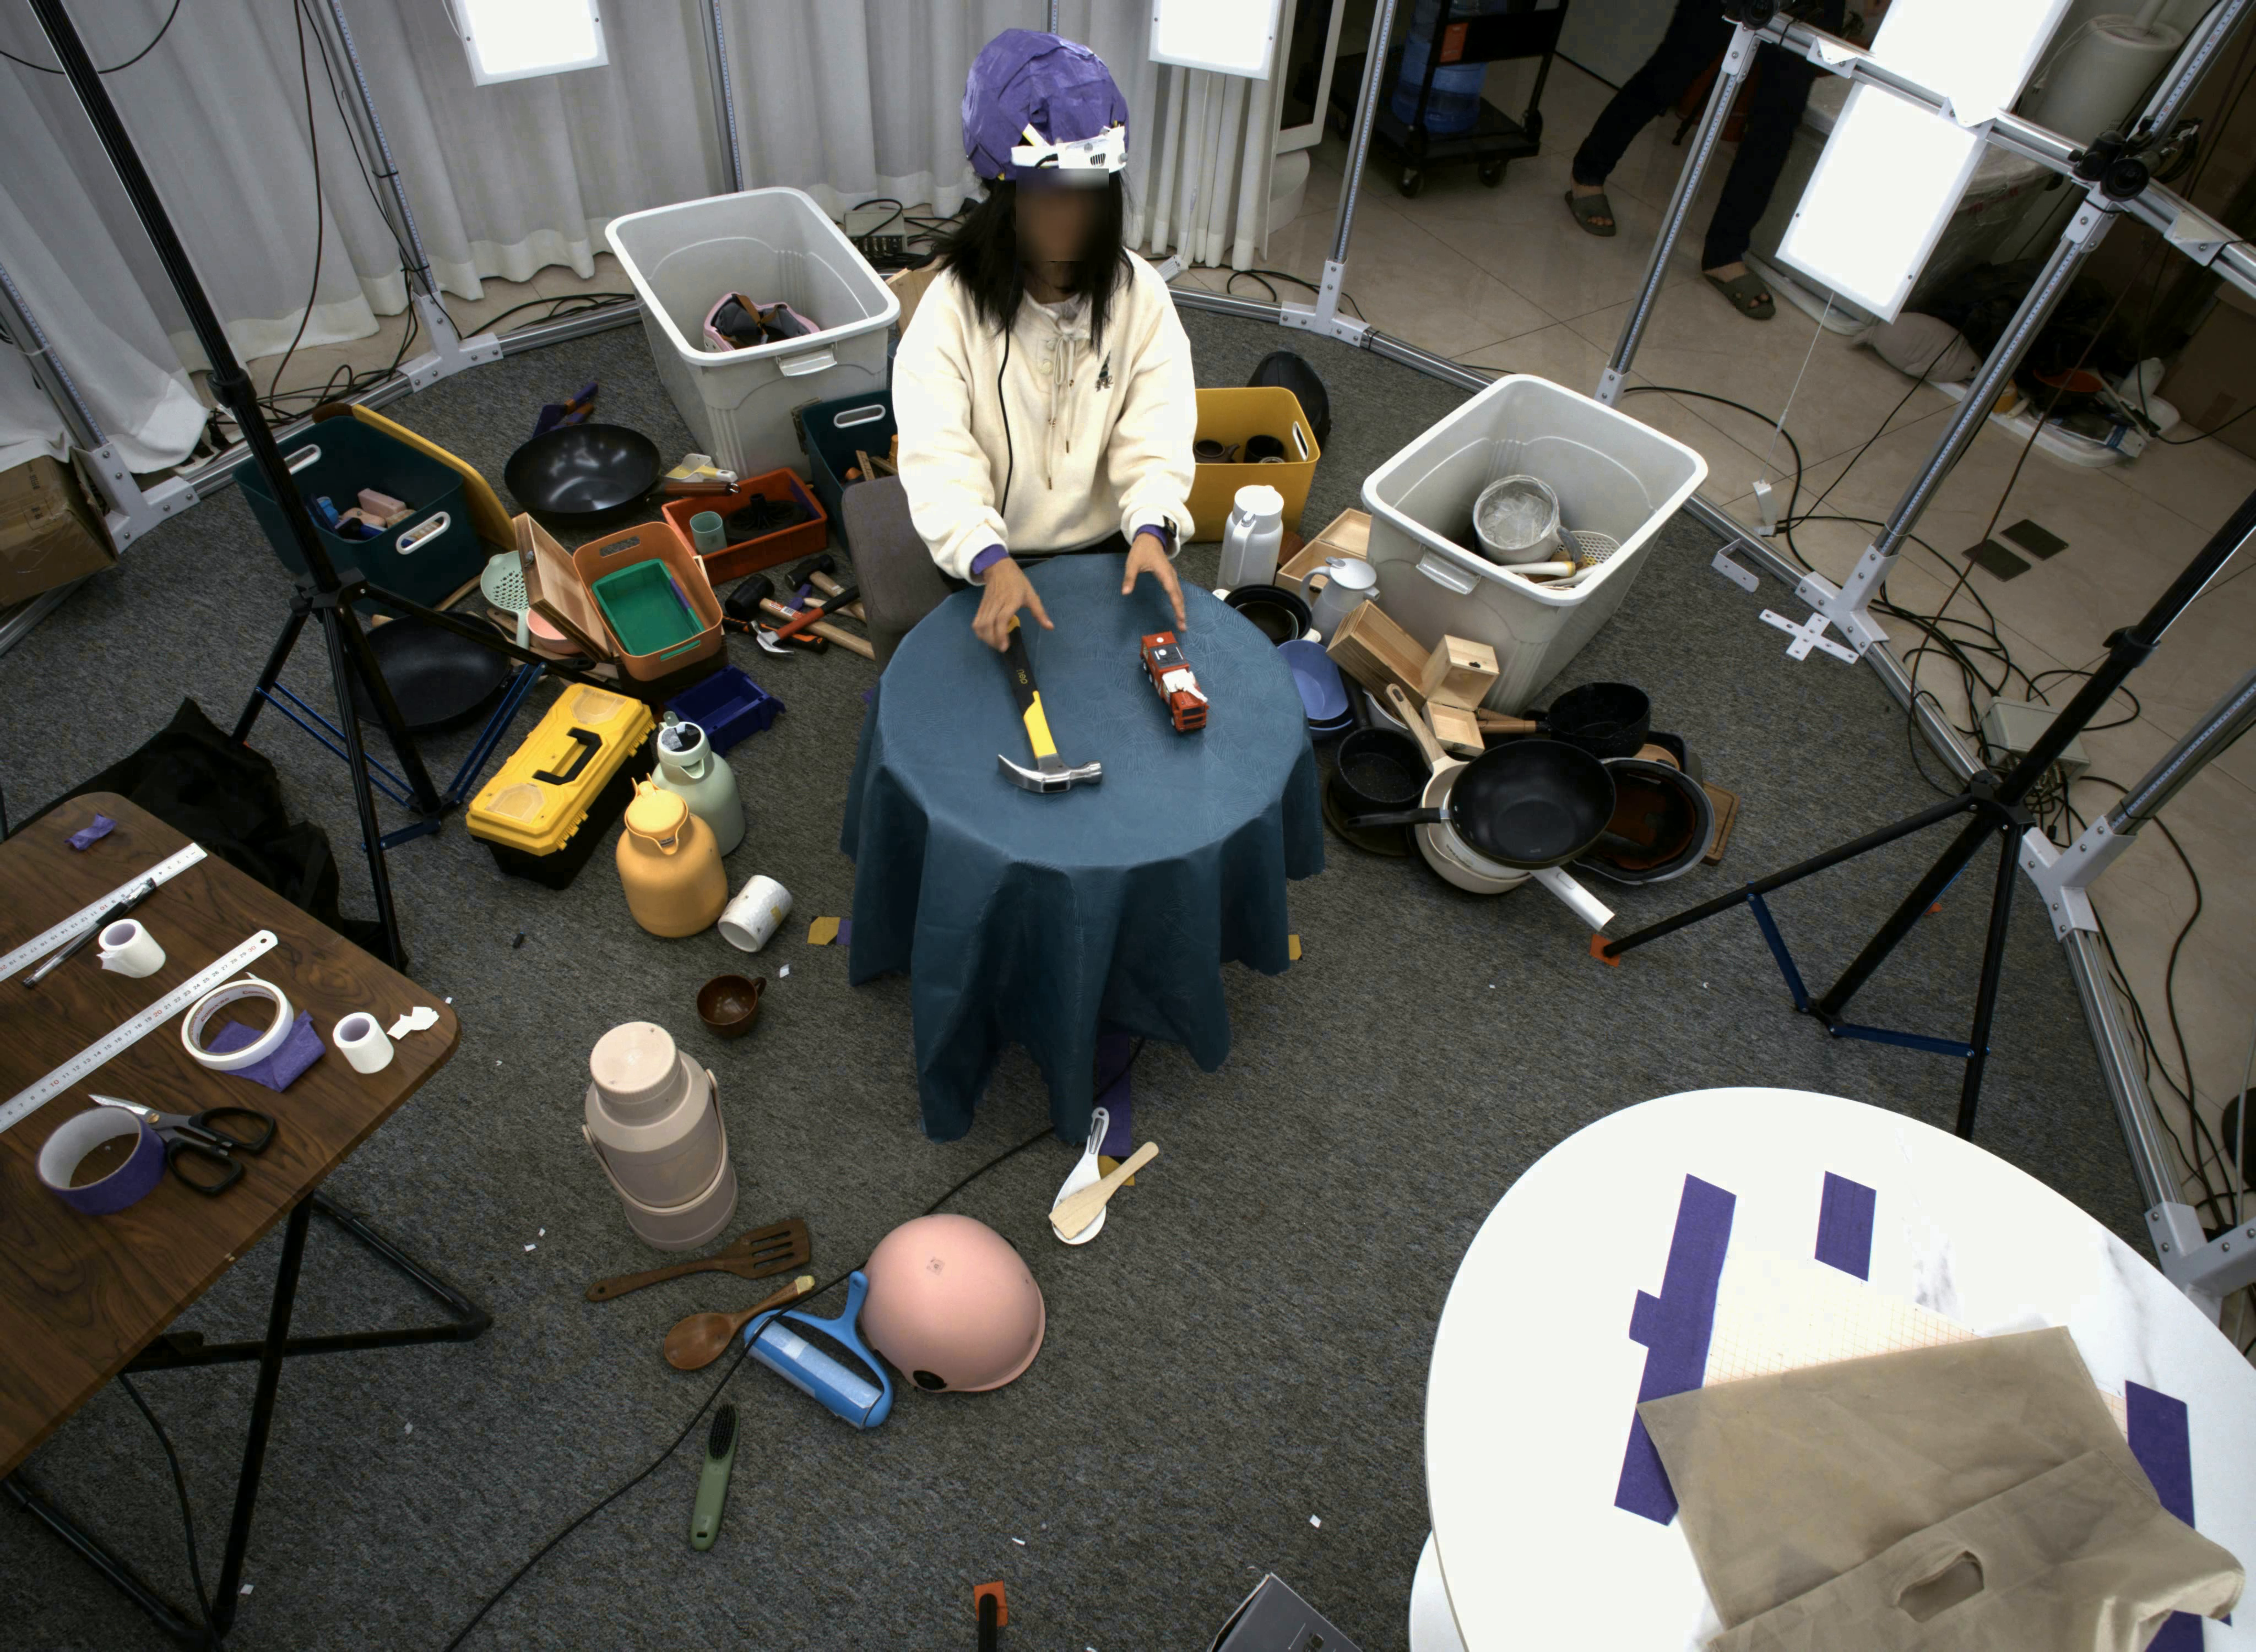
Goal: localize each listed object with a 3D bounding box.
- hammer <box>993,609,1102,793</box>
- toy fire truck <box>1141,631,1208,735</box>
[{"bbox_3d":[-0.138,-0.182,1.793,0.131,0.031,0.347,-9,52,-11],"label":"hammer"},{"bbox_3d":[0.065,-0.204,1.813,0.054,0.068,0.172,-12,50,-15],"label":"toy fire truck"}]
